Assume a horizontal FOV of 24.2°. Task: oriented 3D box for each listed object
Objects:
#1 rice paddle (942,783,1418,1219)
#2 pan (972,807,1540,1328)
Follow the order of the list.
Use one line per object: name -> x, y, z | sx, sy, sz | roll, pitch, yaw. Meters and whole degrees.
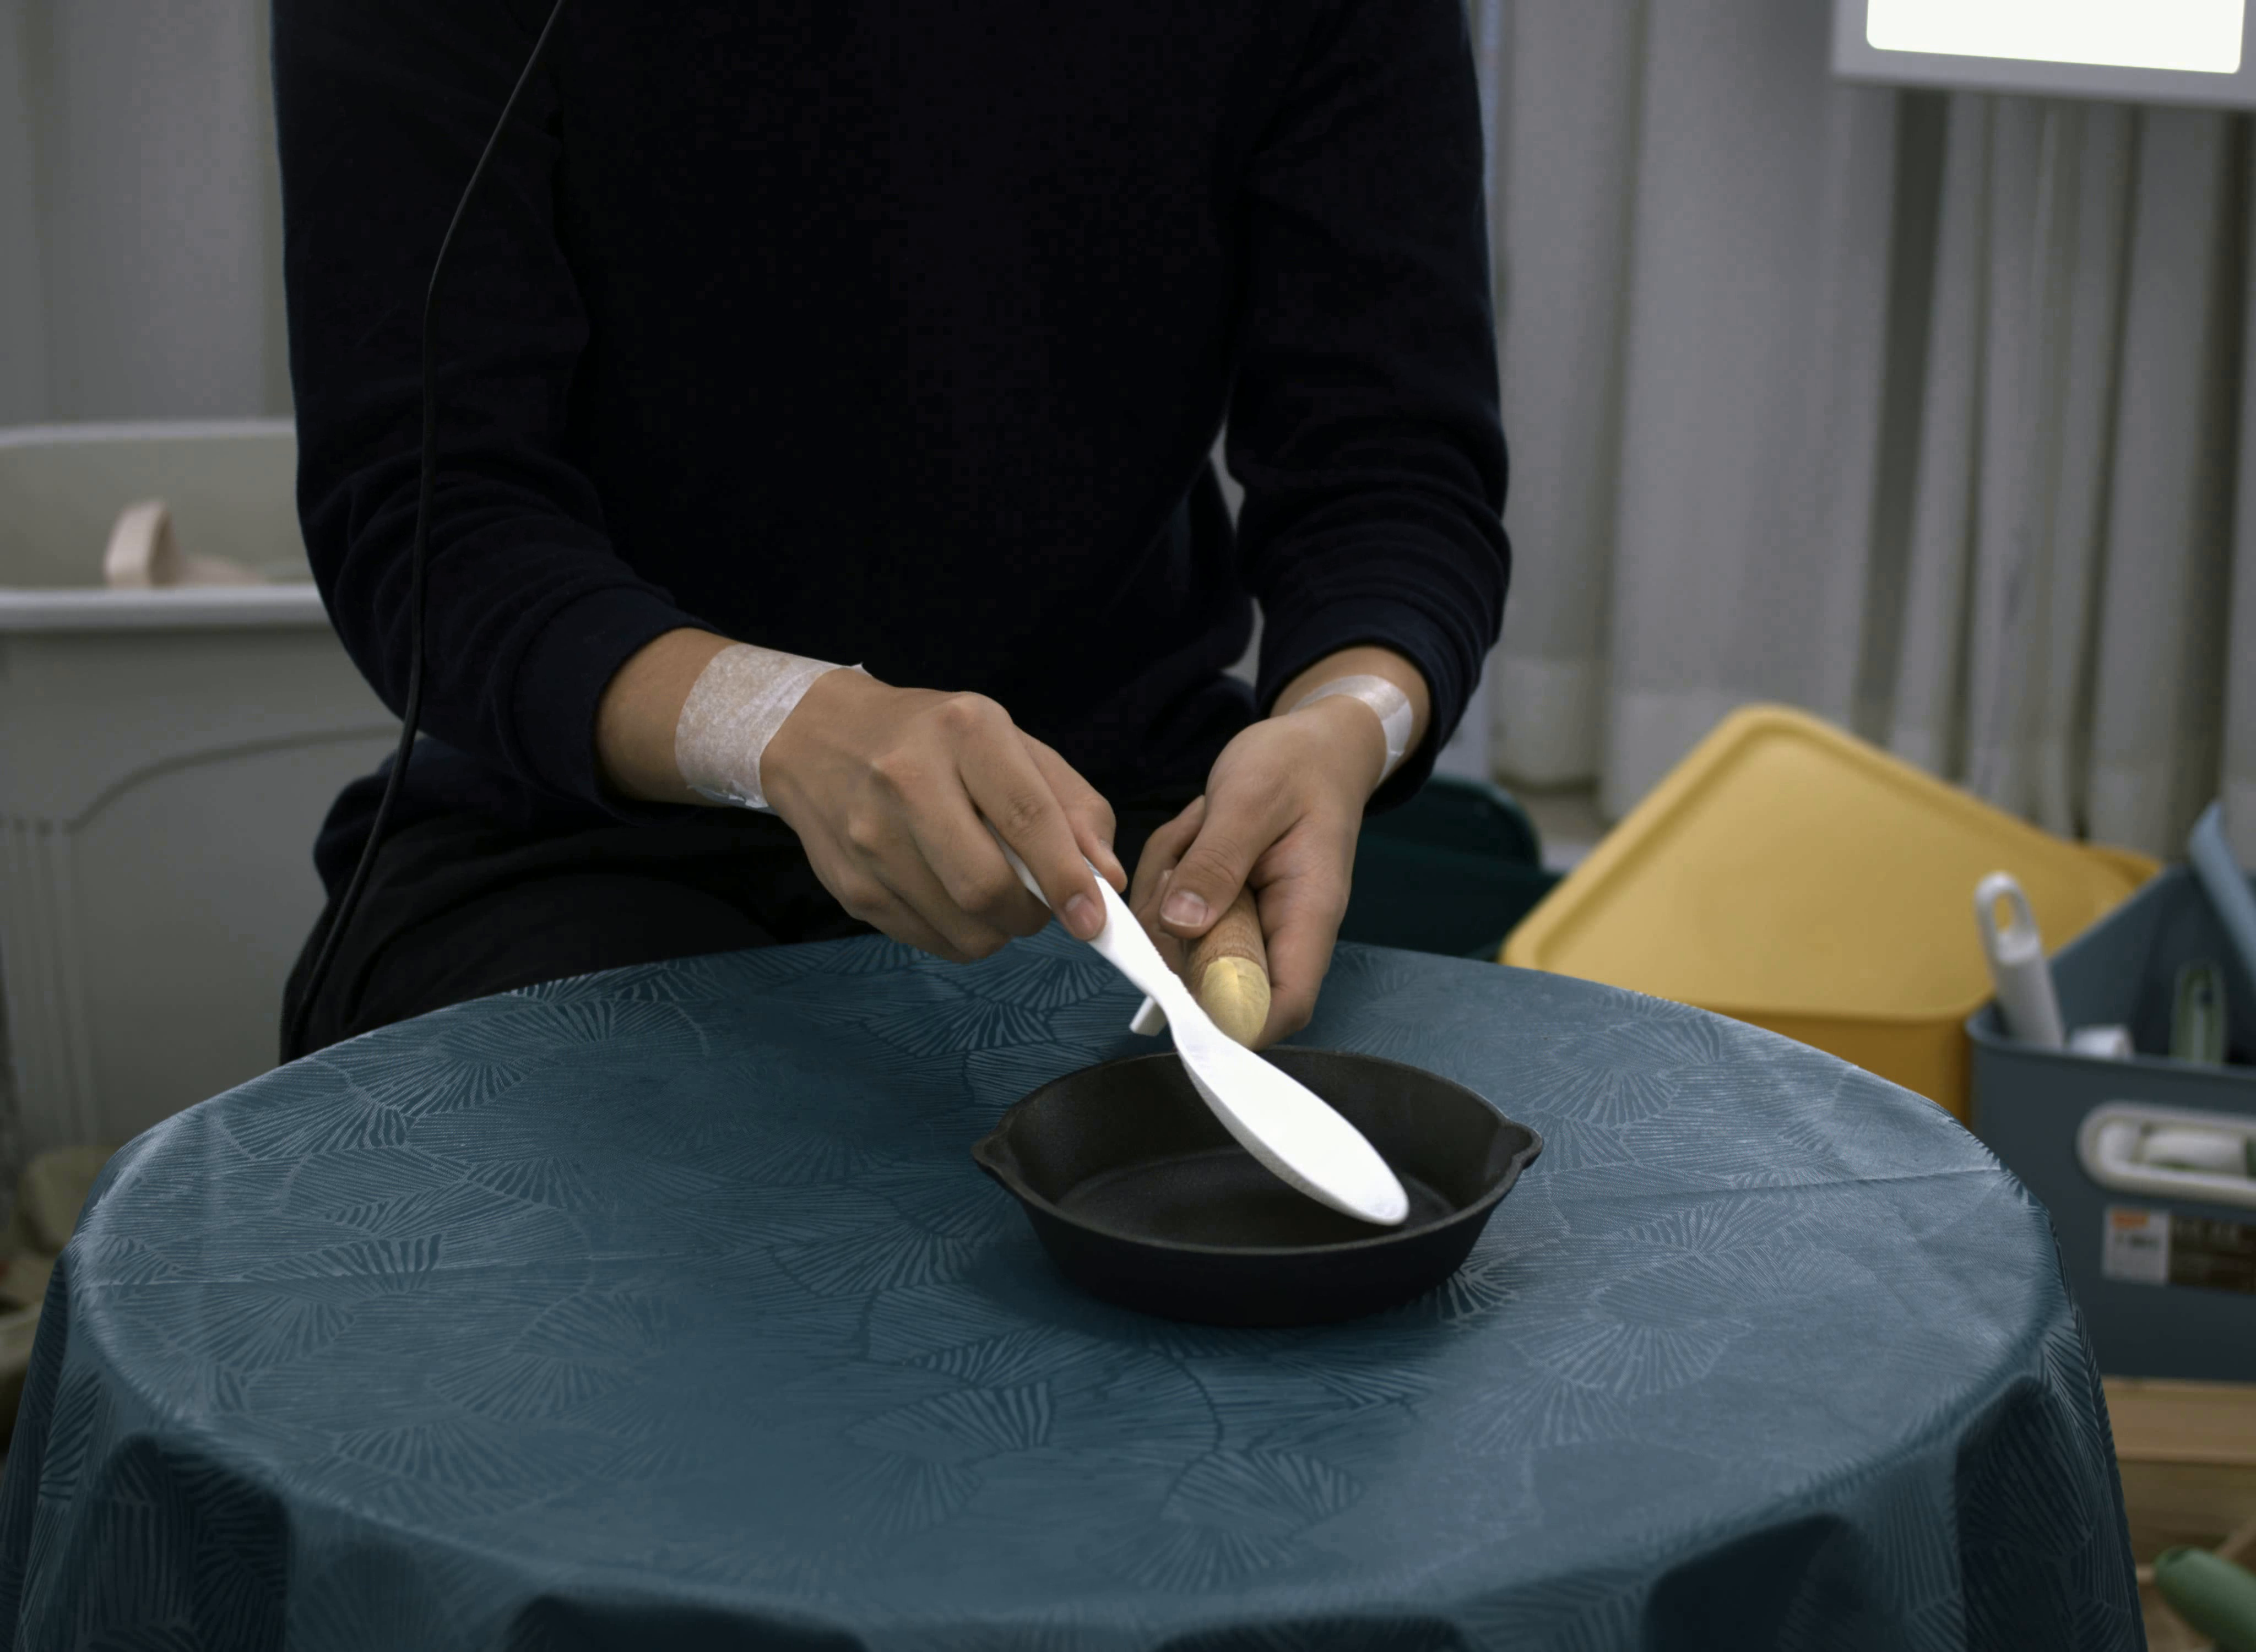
rice paddle -> 0.017, 0.056, 1.606 | 0.202, 0.029, 0.069 | 42, 18, 31
pan -> 0.037, 0.071, 1.638 | 0.168, 0.050, 0.322 | 0, 21, -1
